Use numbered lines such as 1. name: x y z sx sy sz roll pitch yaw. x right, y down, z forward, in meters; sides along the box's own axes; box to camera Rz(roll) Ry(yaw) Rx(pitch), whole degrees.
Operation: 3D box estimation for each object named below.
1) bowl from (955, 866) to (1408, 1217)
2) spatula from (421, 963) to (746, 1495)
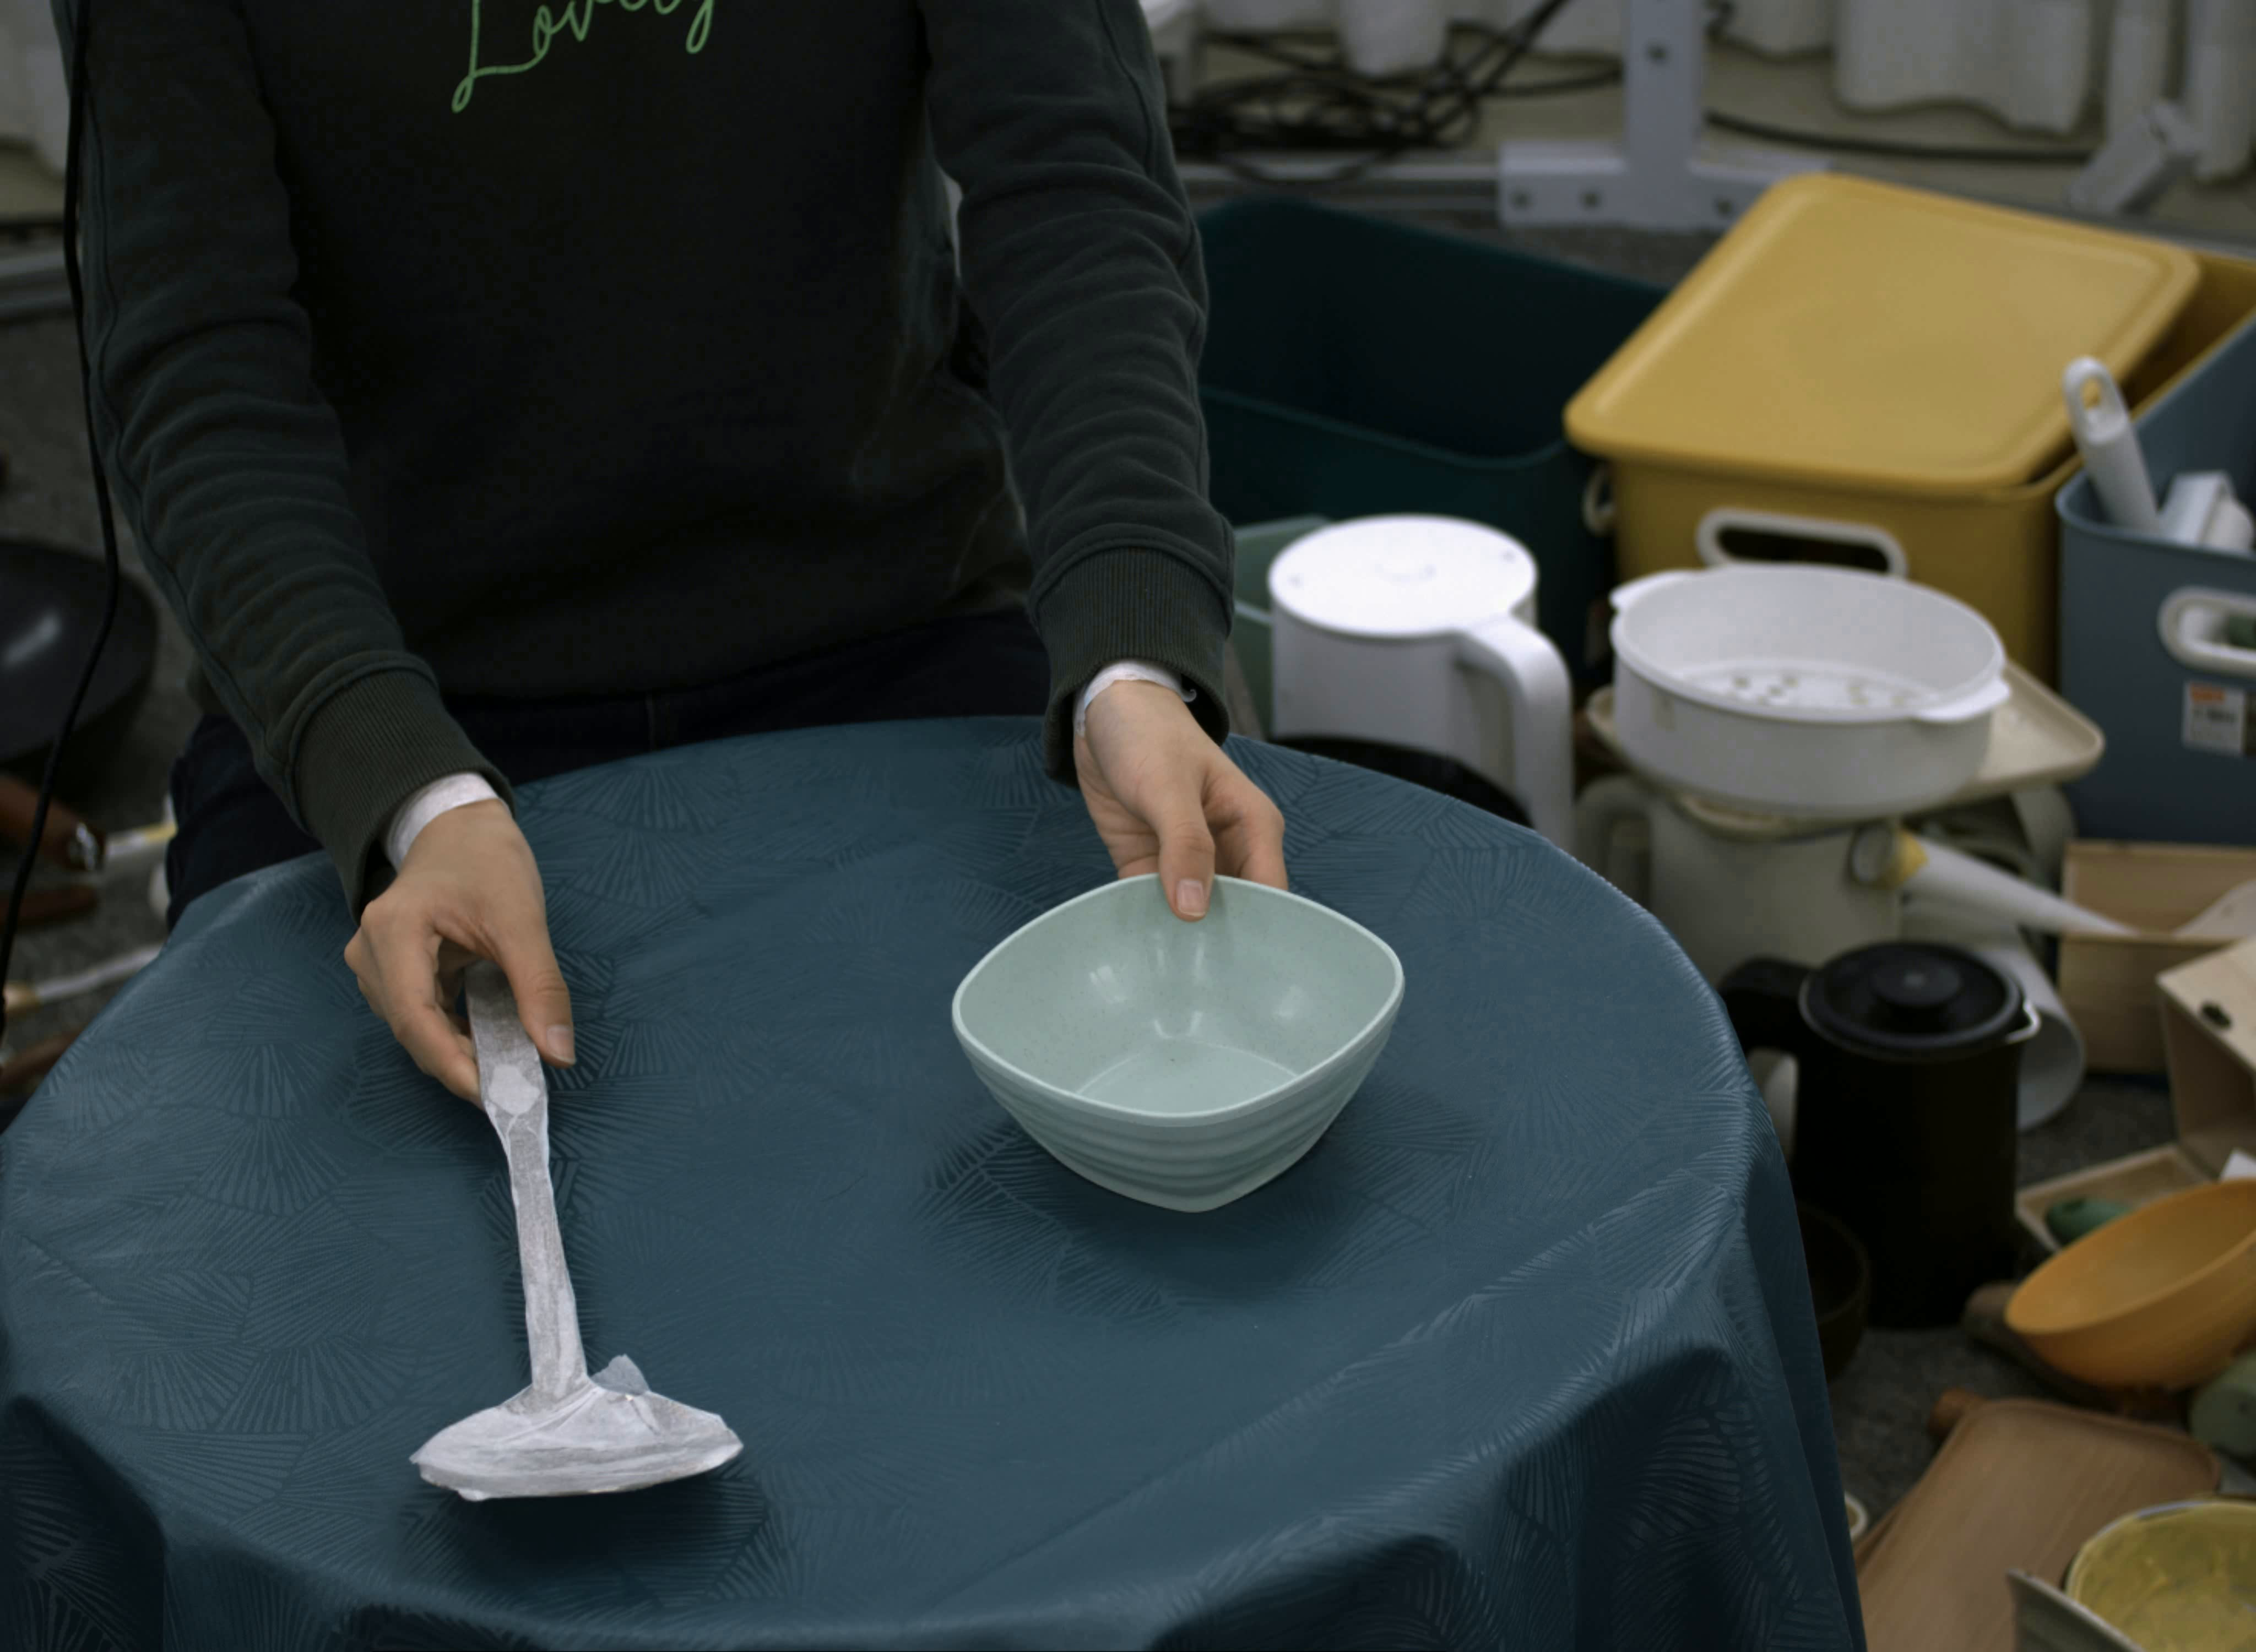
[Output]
1. bowl: 0.019 0.079 1.878 0.151 0.058 0.154 -2 32 1
2. spatula: -0.189 0.122 1.825 0.098 0.044 0.370 -5 30 -8
